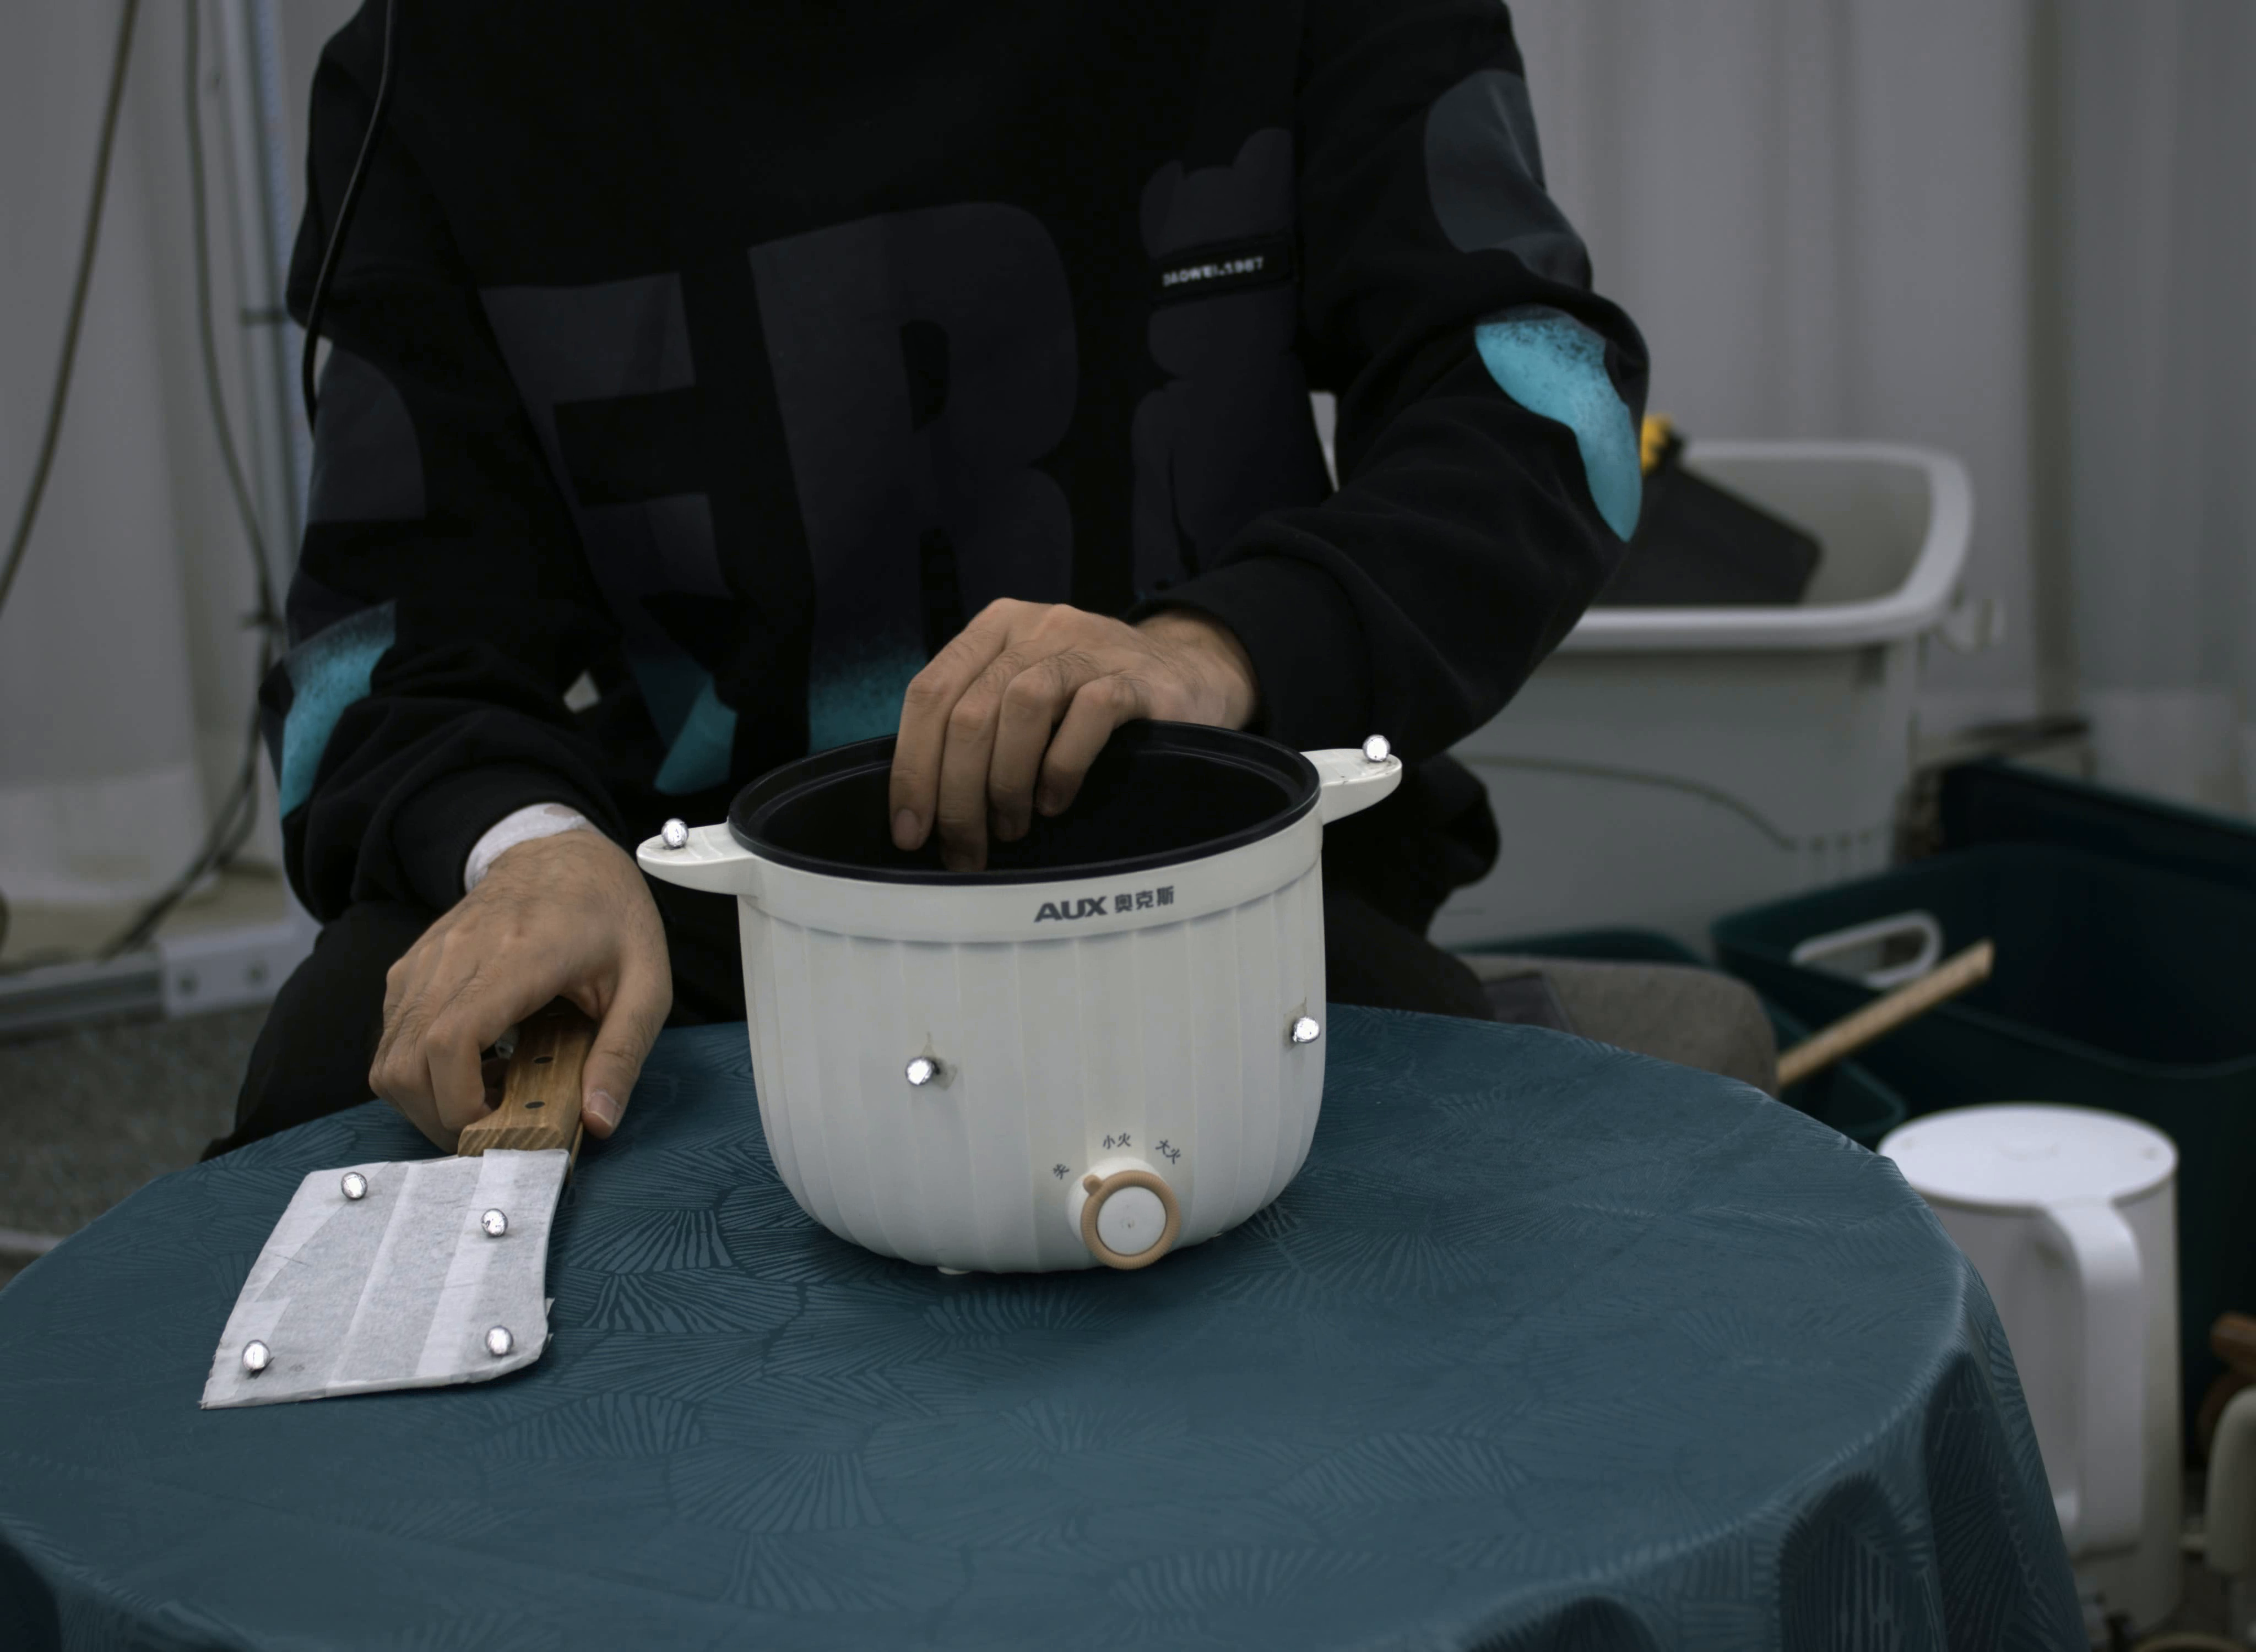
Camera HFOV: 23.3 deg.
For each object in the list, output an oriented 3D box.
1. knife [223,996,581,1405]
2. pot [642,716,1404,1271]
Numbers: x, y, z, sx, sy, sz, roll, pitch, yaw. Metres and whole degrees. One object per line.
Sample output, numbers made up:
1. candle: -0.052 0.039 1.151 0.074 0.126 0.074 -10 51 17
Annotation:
1. knife: -0.210 0.116 1.715 0.113 0.021 0.318 -4 18 6
2. pot: -0.025 0.054 1.679 0.239 0.142 0.192 -8 12 -14
